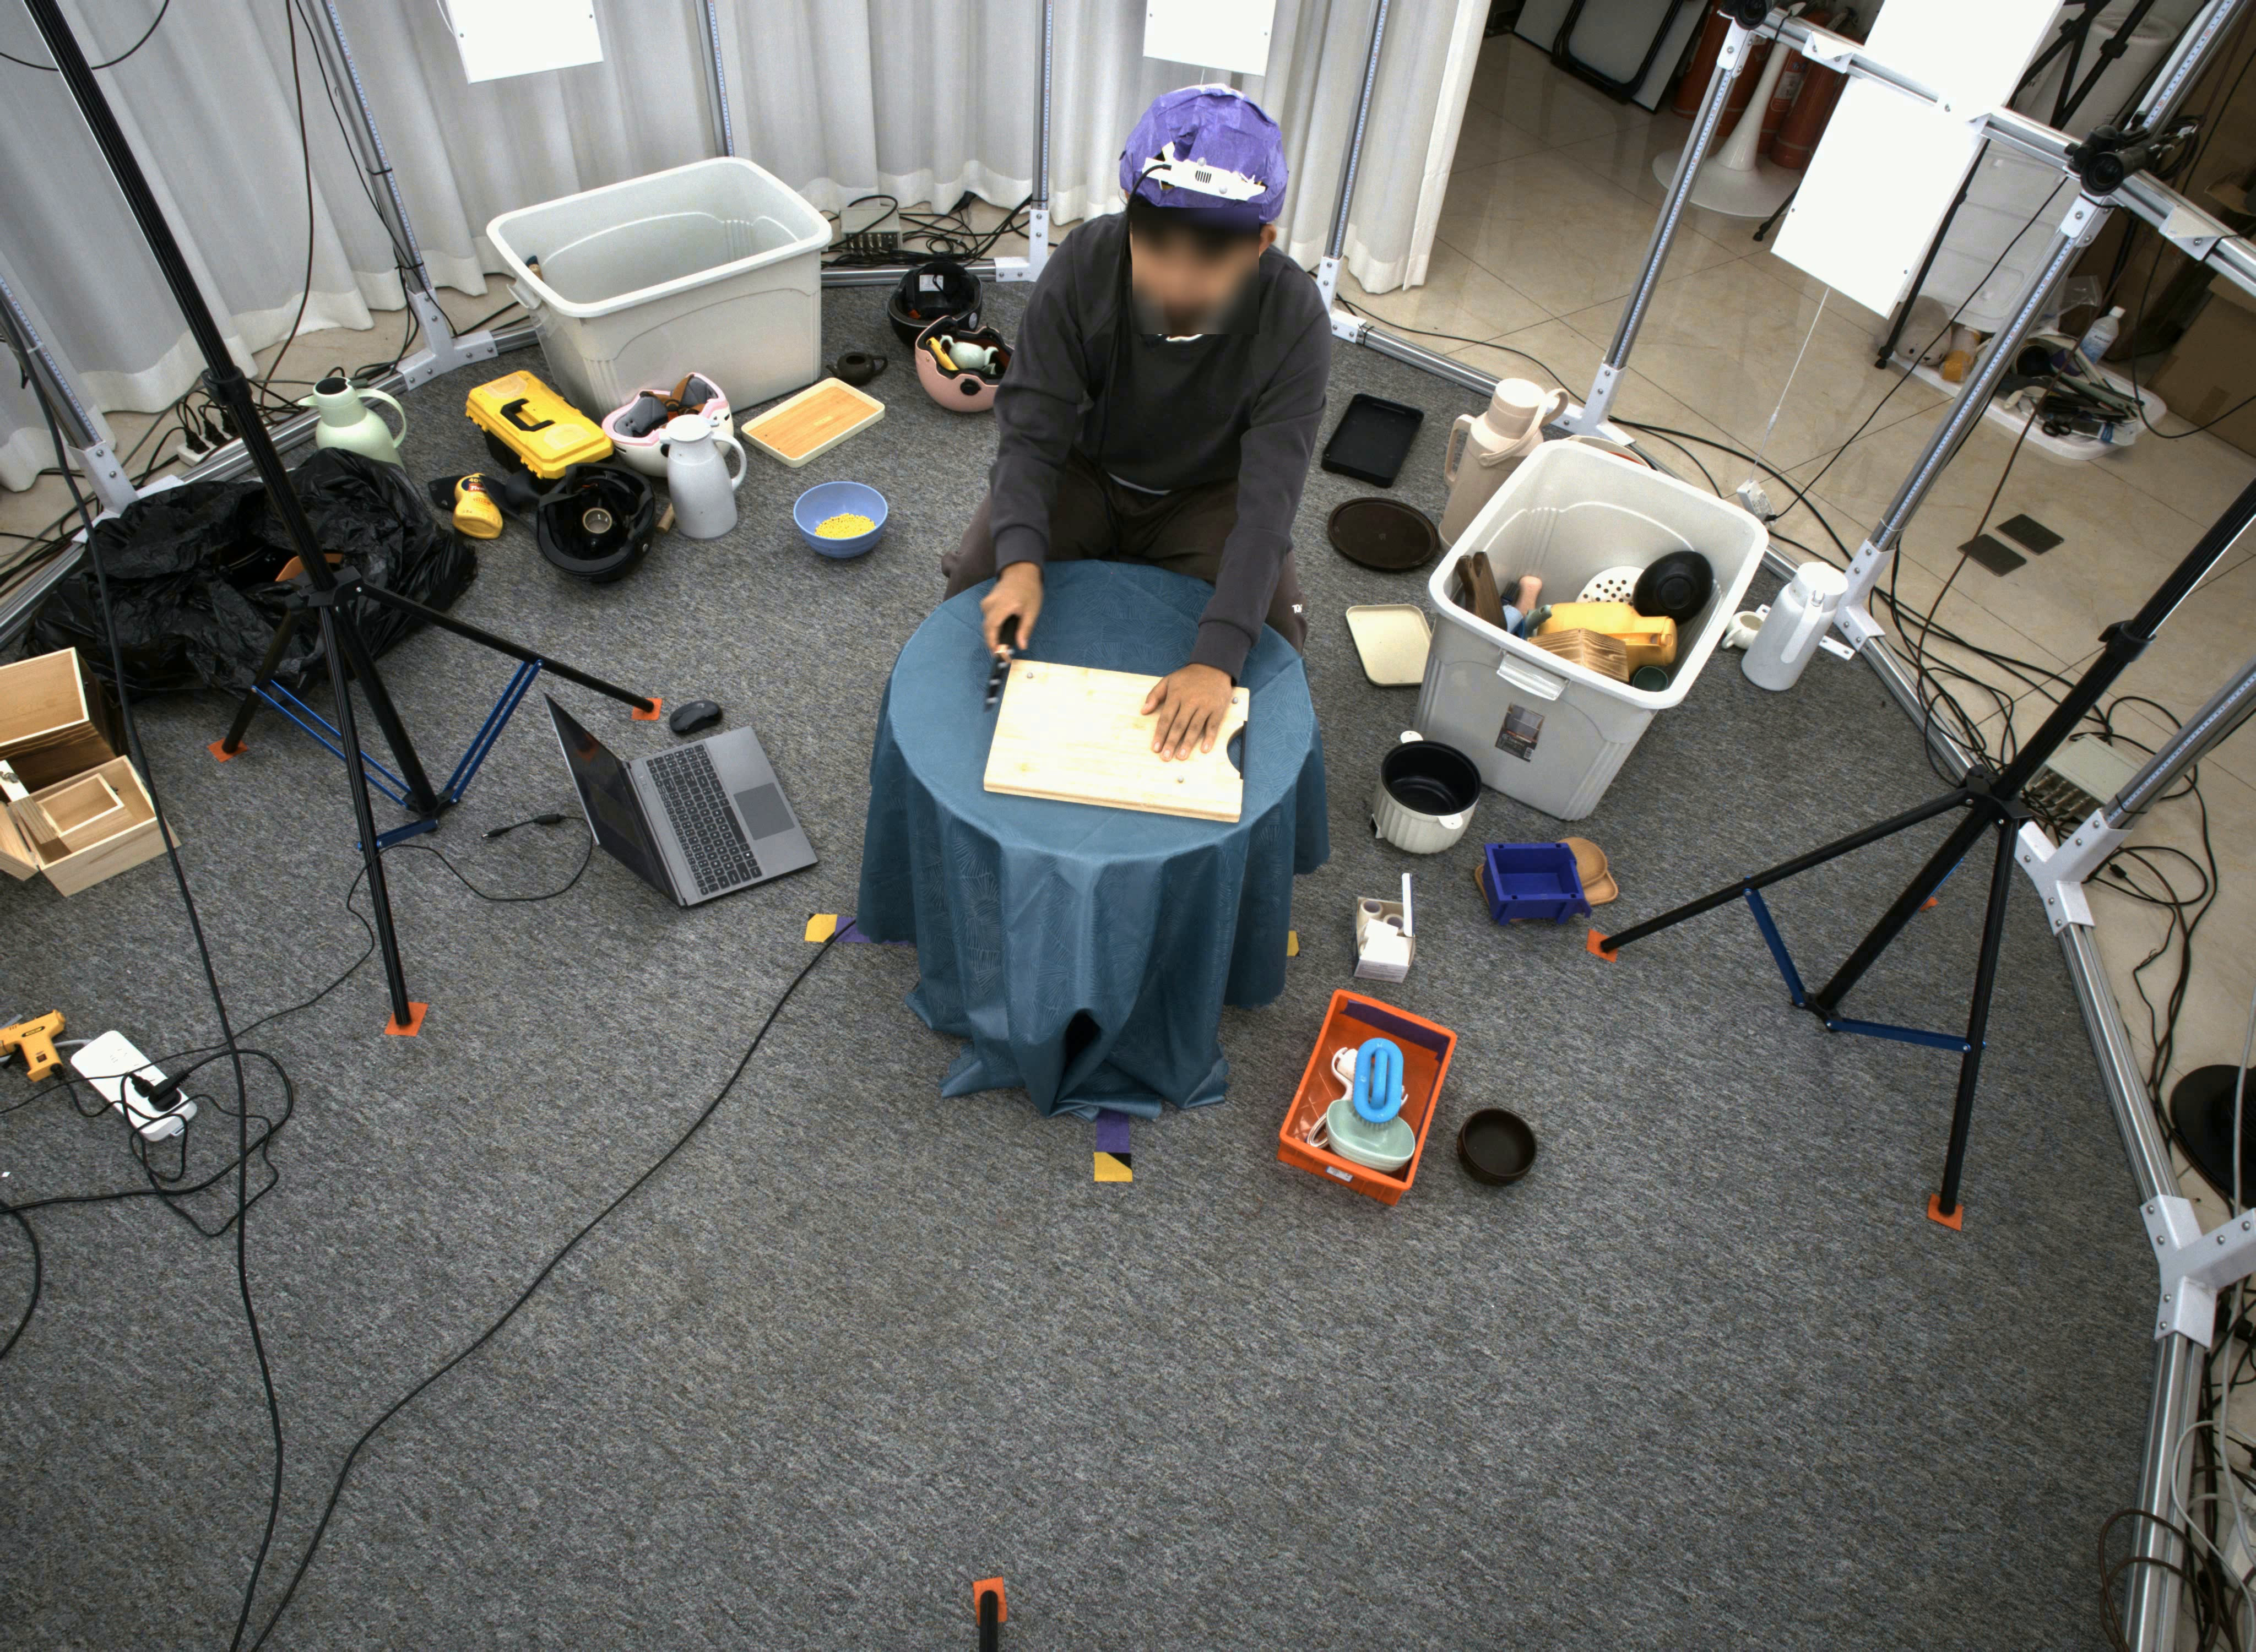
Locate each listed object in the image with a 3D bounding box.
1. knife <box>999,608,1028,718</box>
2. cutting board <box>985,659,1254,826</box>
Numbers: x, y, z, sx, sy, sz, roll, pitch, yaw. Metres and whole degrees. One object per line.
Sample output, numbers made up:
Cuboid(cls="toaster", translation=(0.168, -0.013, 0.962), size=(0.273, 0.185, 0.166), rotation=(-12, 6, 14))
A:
Cuboid(cls="knife", translation=(-0.161, -0.229, 1.778), size=(0.017, 0.026, 0.231), rotation=(-28, 36, 30))
Cuboid(cls="cutting board", translation=(-0.004, -0.120, 1.758), size=(0.348, 0.023, 0.257), rotation=(6, 49, 1))
